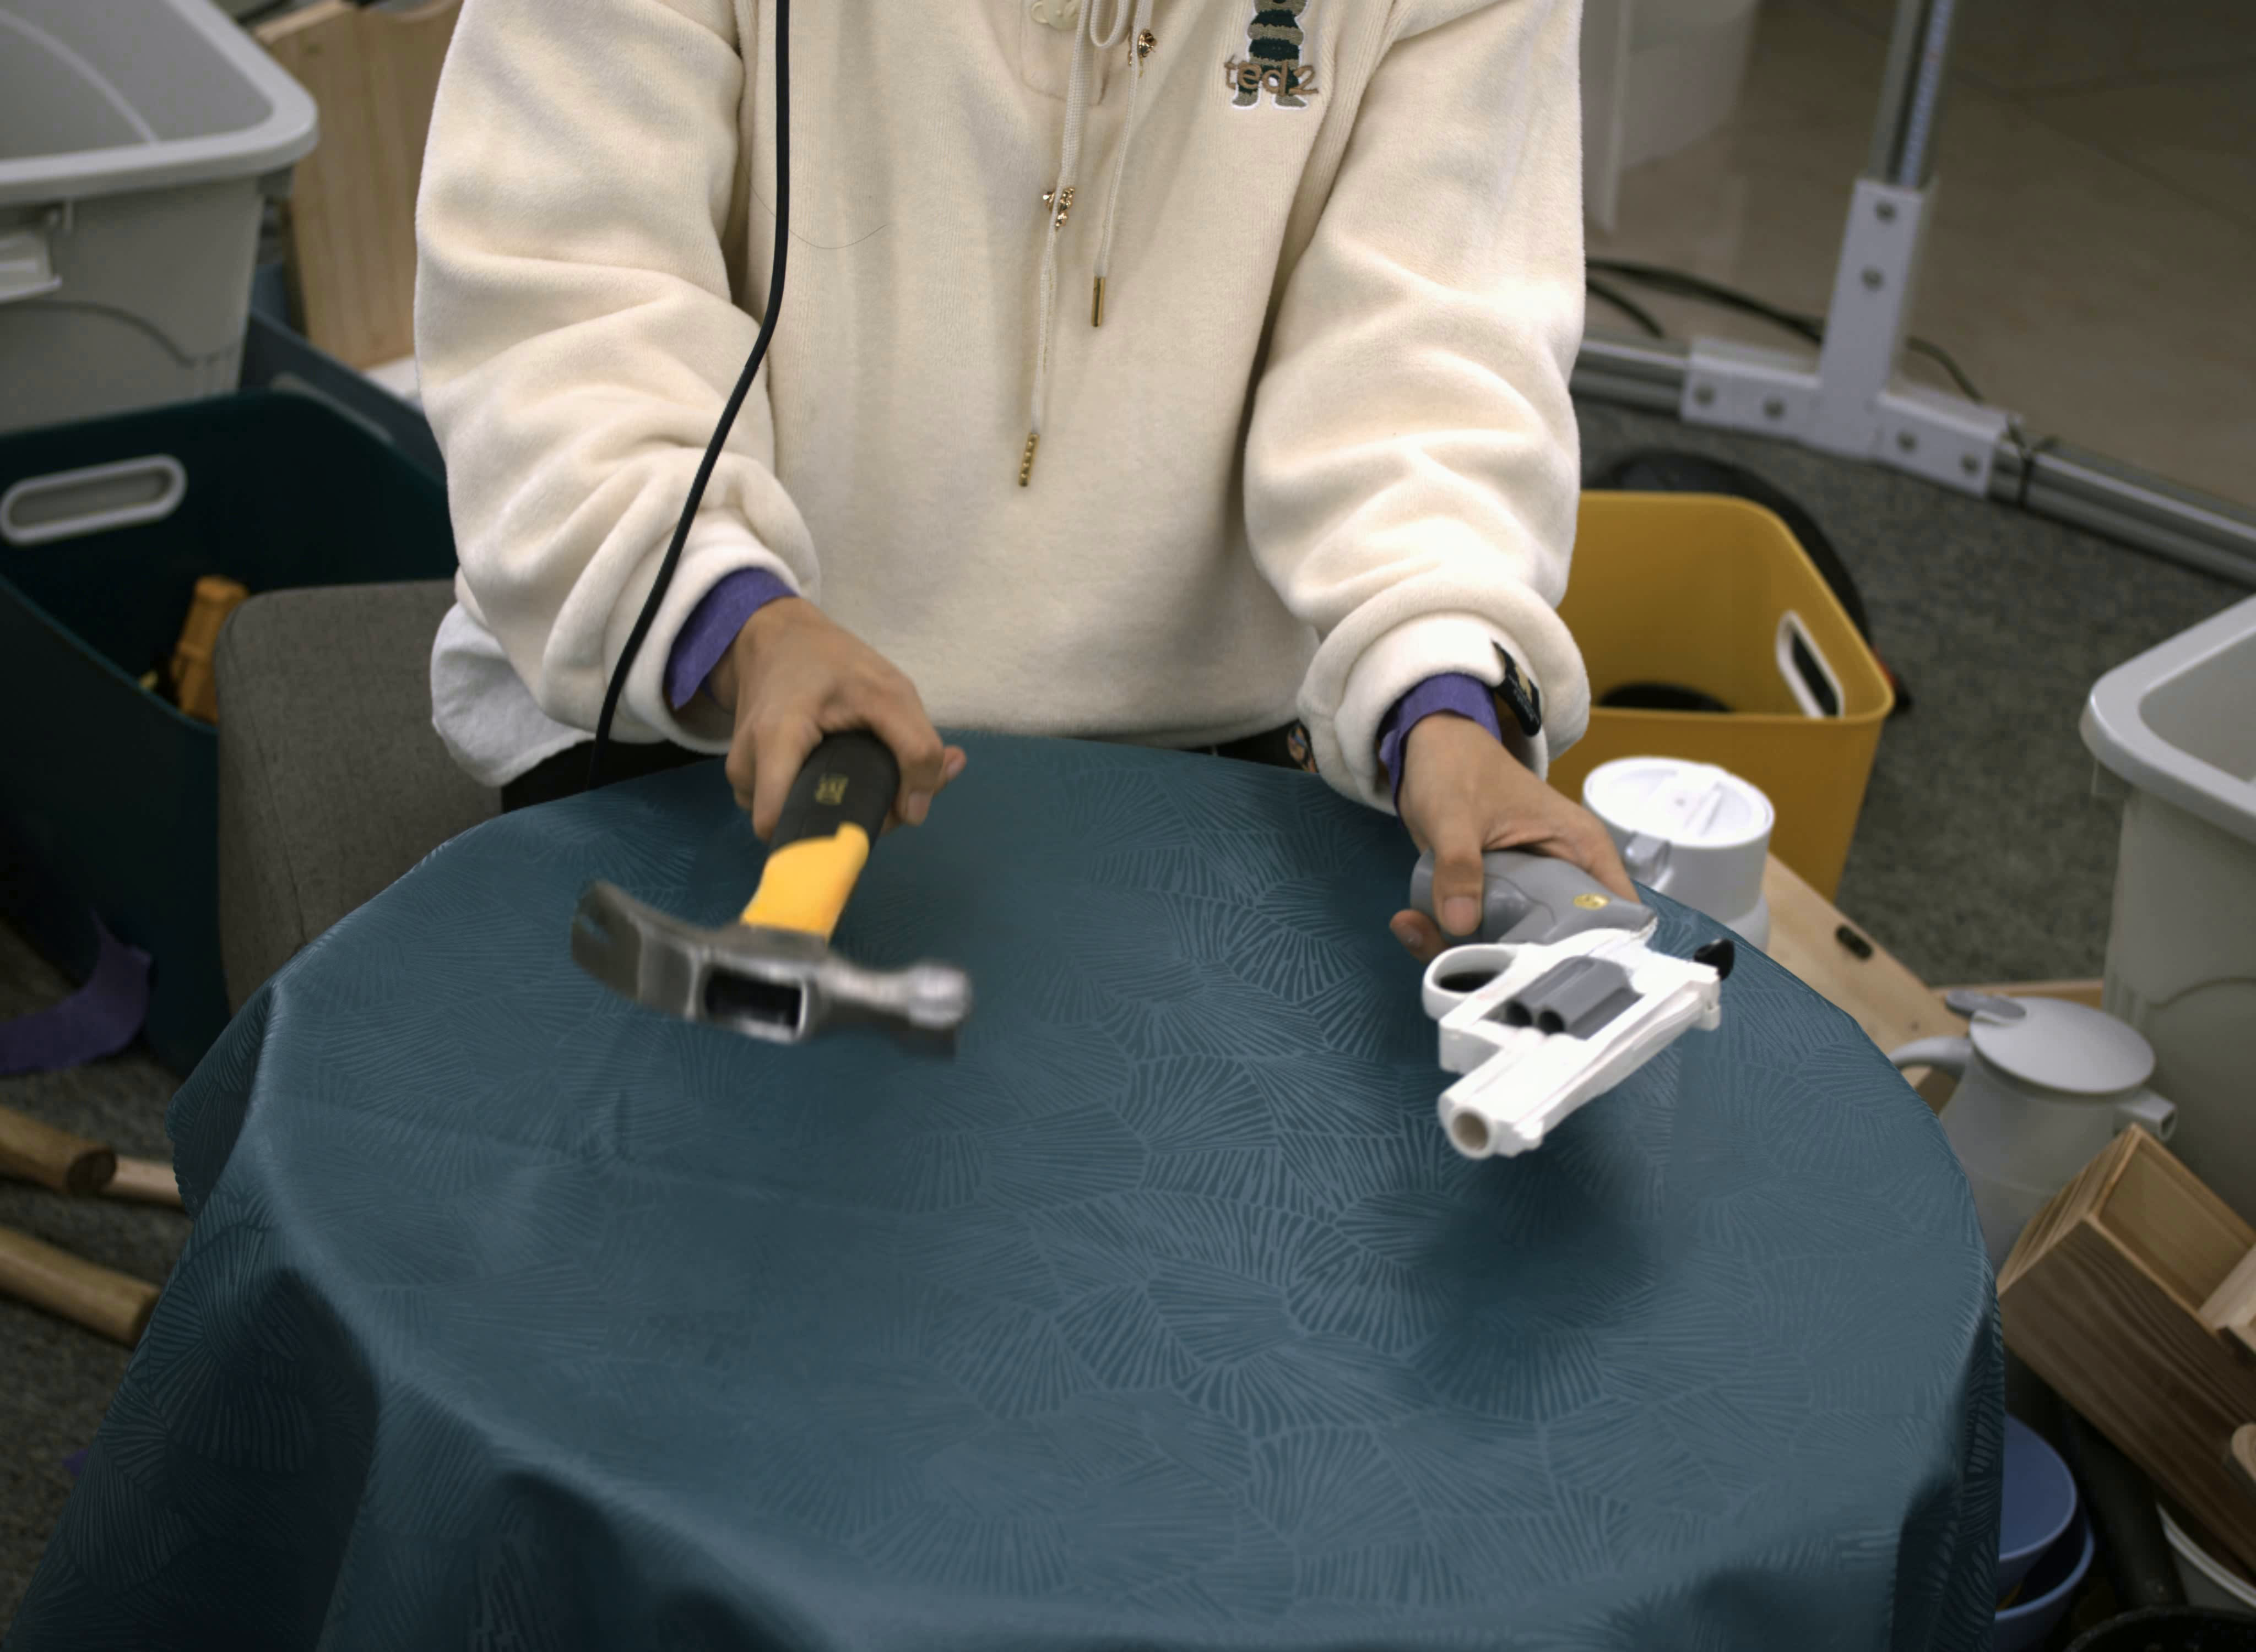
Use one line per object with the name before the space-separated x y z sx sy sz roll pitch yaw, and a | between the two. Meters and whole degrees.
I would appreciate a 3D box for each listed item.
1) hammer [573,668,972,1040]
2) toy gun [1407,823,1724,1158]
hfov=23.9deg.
hammer | -0.103 0.000 1.798 0.131 0.032 0.339 6 17 3
toy gun | 0.129 0.055 1.823 0.142 0.039 0.208 12 26 29
